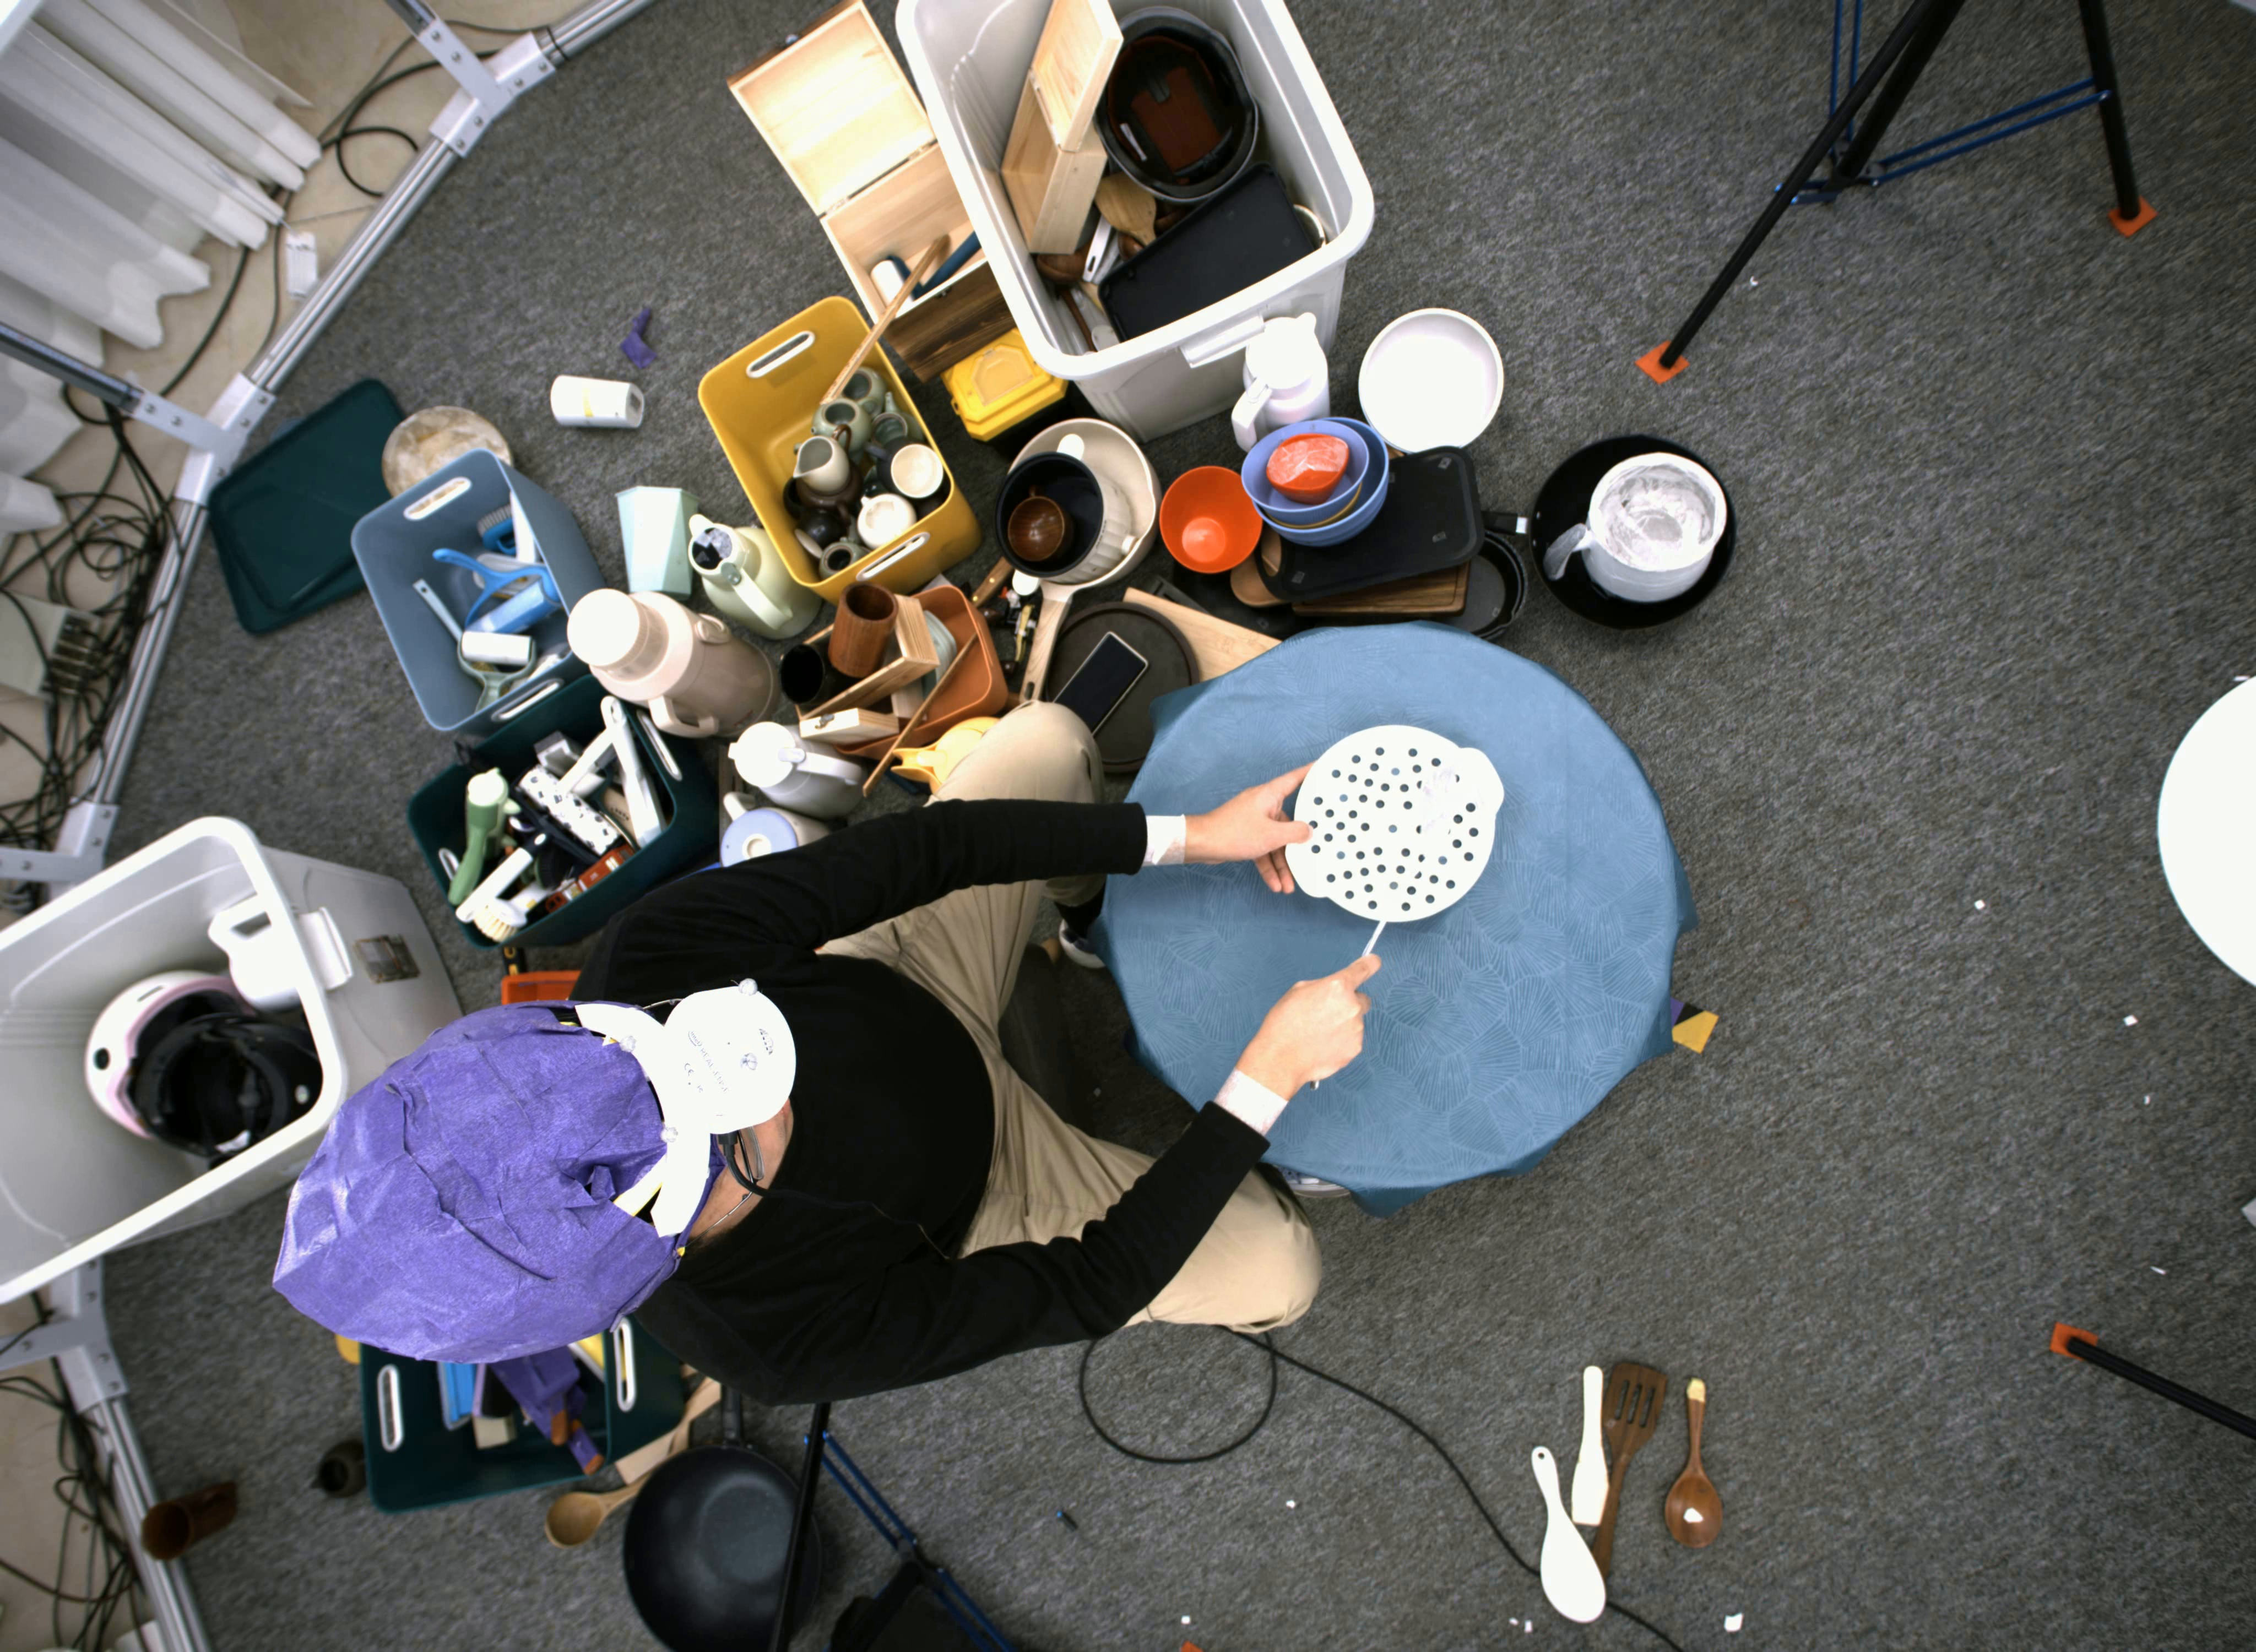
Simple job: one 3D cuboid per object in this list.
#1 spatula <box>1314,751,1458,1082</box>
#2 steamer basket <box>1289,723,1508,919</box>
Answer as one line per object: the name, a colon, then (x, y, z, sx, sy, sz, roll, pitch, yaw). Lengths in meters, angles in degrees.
spatula: (0.251, 0.083, 1.355, 0.045, 0.100, 0.359, 32, 71, 1)
steamer basket: (0.279, -0.004, 1.427, 0.232, 0.069, 0.200, -27, 81, 9)
